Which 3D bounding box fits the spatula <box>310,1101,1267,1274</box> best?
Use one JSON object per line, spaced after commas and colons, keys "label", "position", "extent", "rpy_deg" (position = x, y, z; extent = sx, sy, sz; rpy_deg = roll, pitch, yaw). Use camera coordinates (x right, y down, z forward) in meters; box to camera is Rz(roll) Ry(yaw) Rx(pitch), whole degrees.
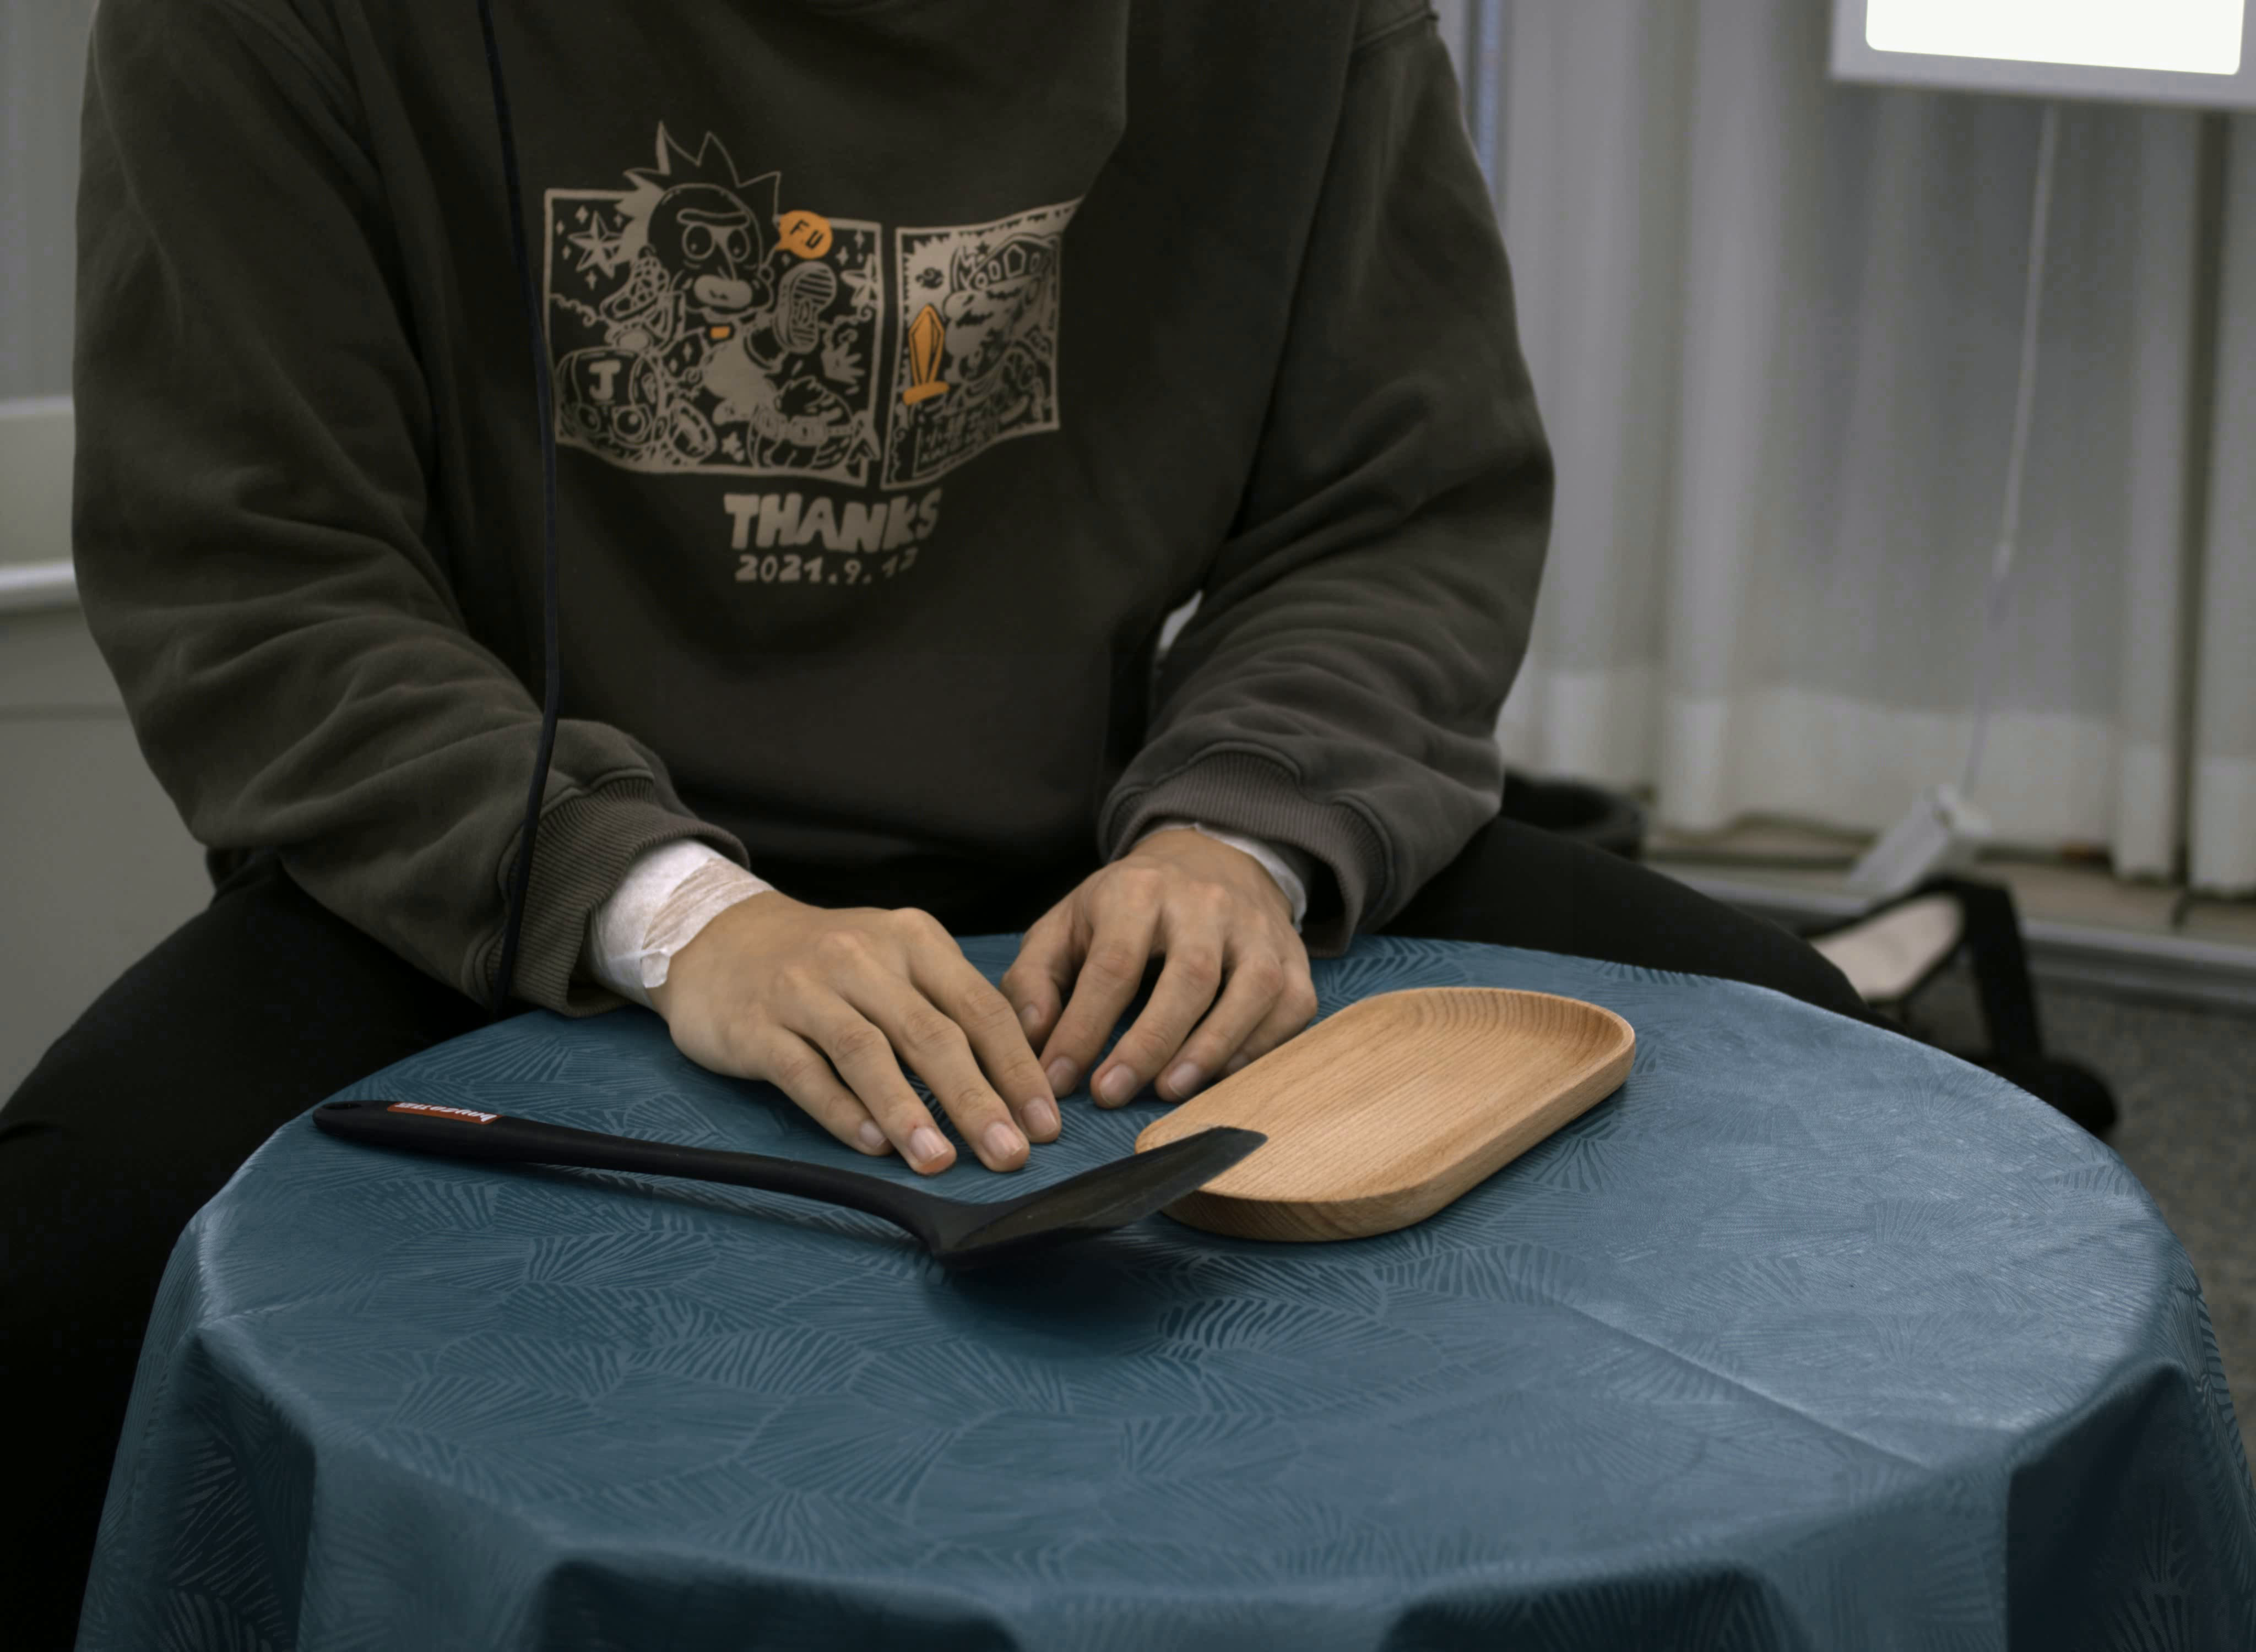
{"label": "spatula", "position": [-0.117, 0.099, 1.605], "extent": [0.322, 0.040, 0.100], "rpy_deg": [9, 16, 26]}

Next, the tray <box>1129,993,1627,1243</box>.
{"label": "tray", "position": [0.082, 0.091, 1.680], "extent": [0.100, 0.020, 0.232], "rpy_deg": [8, 18, 27]}
